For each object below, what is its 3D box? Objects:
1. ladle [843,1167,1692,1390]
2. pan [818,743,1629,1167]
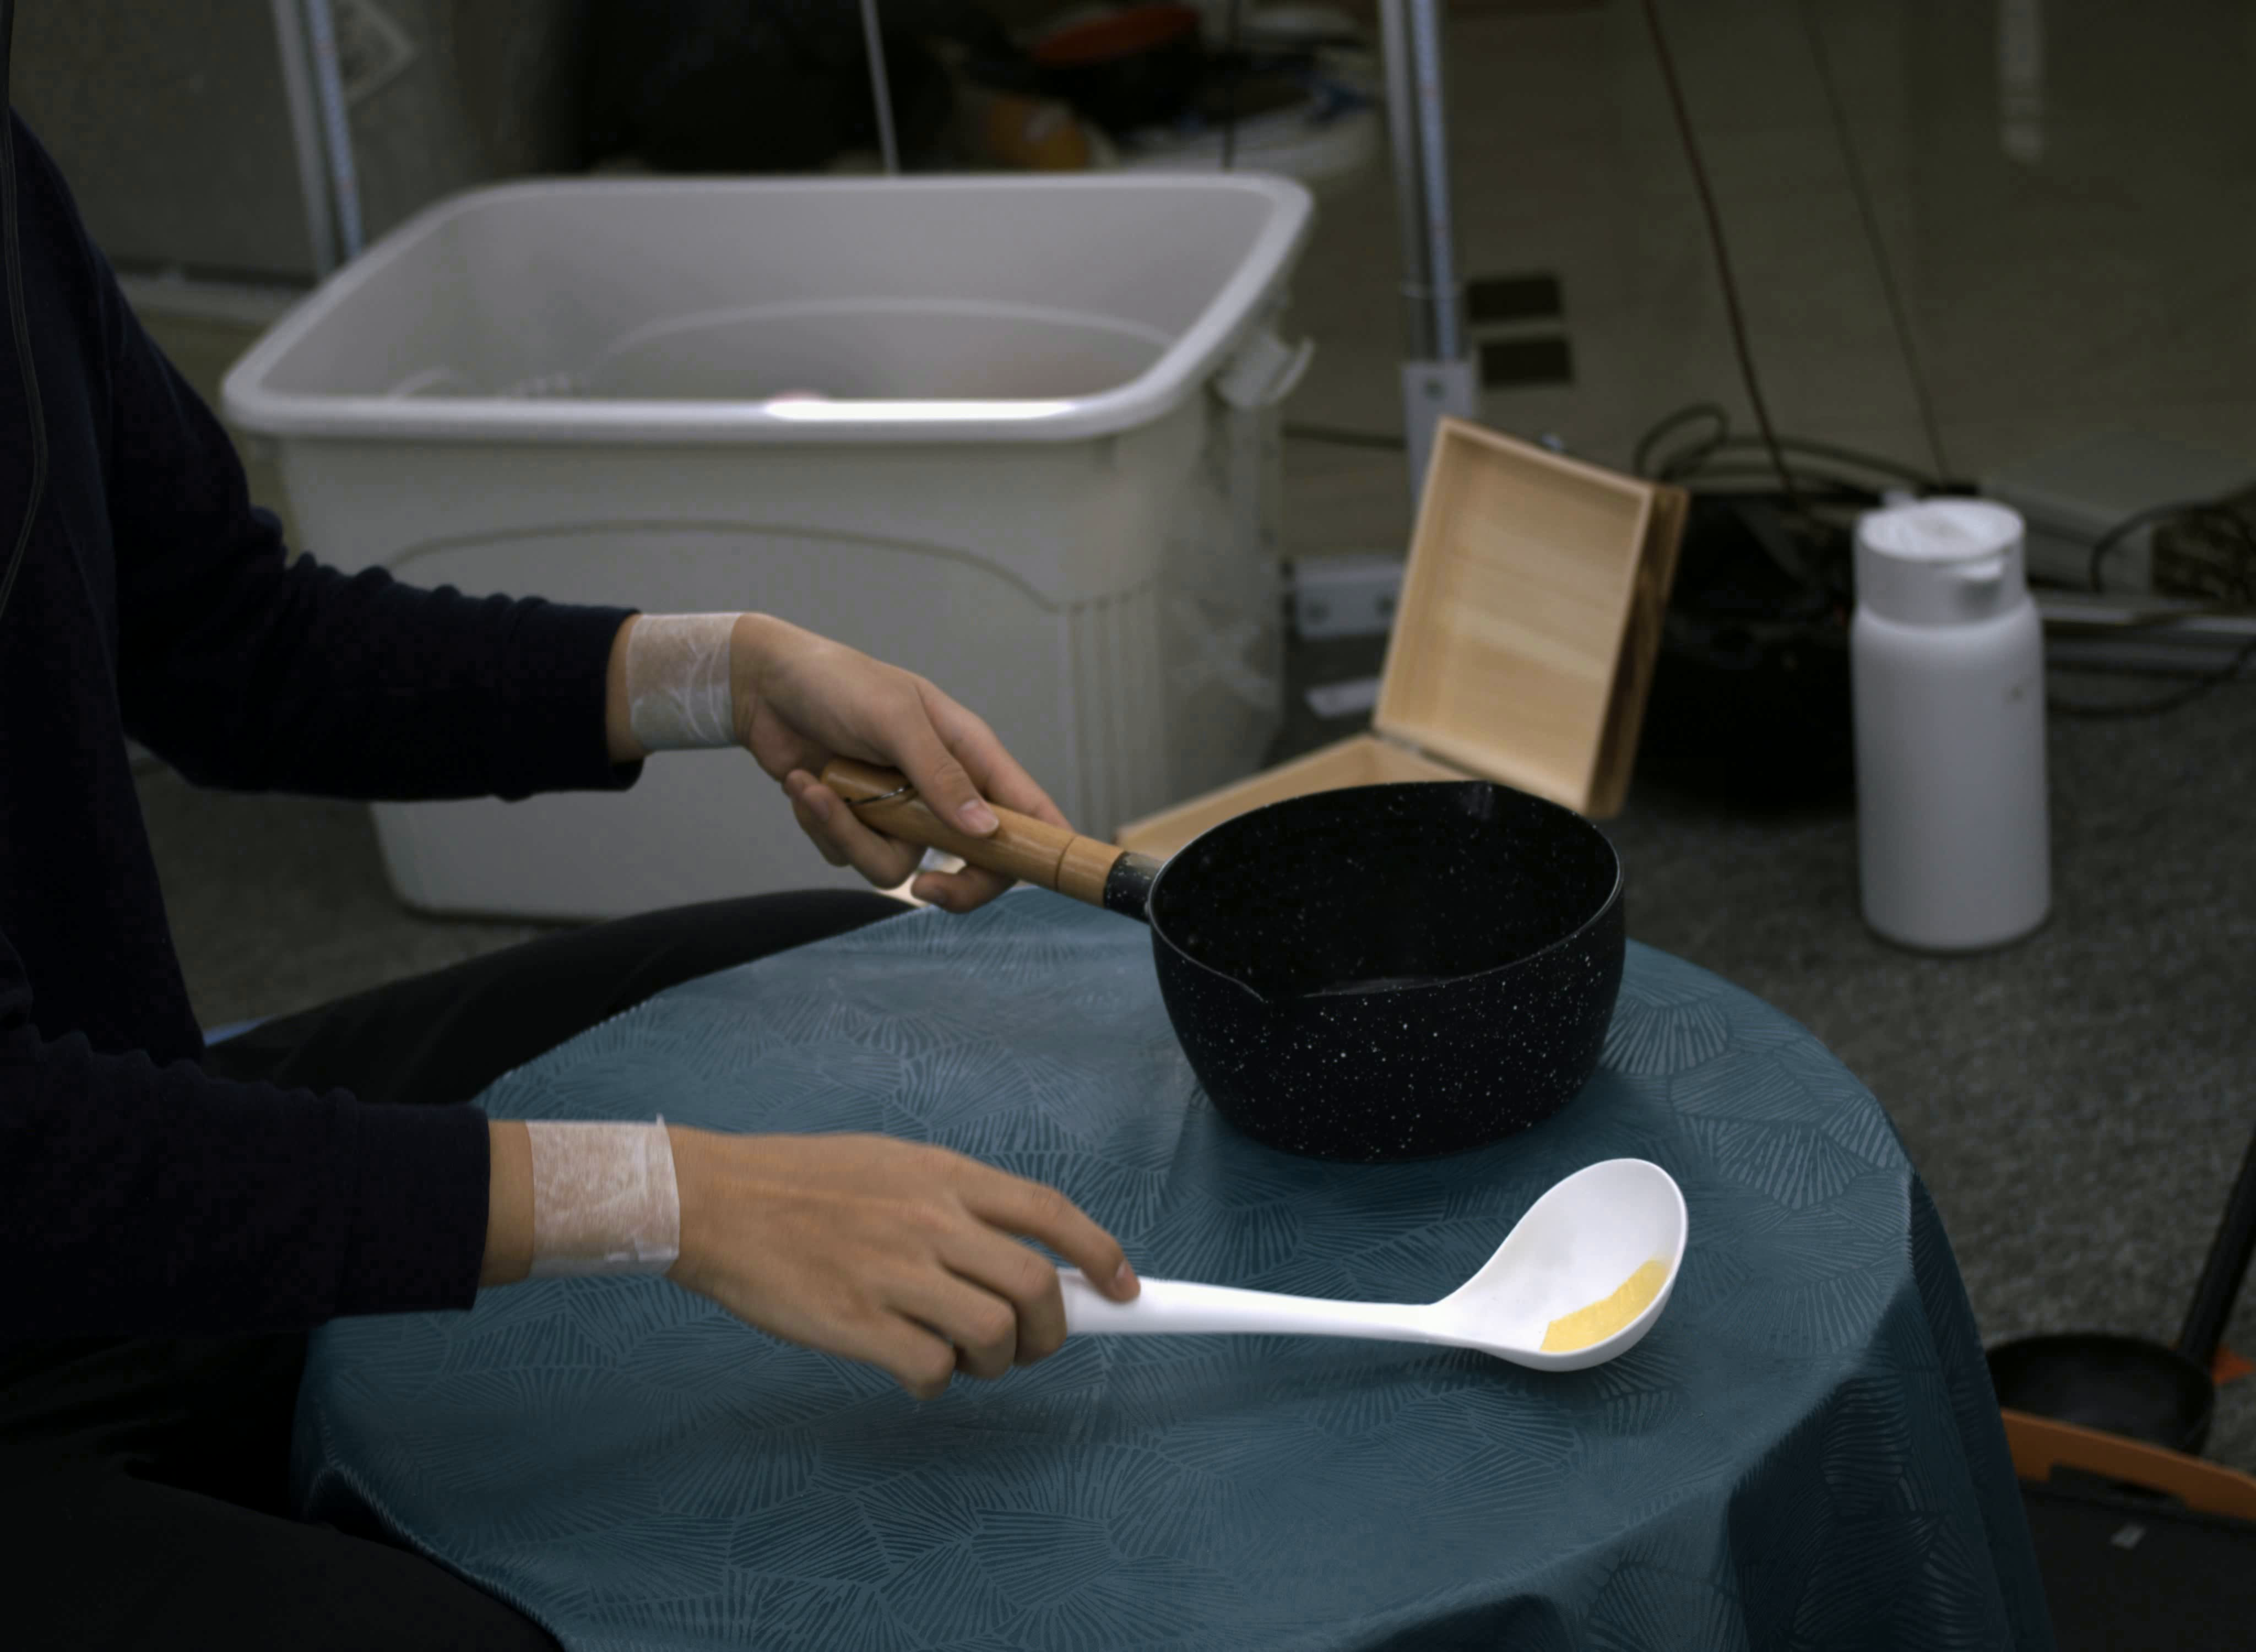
[{"bbox_3d":[0.048,0.159,1.979,0.292,0.071,0.088,2,47,-3],"label":"ladle"},{"bbox_3d":[0.031,0.040,2.221,0.341,0.110,0.205,8,30,25],"label":"pan"}]
